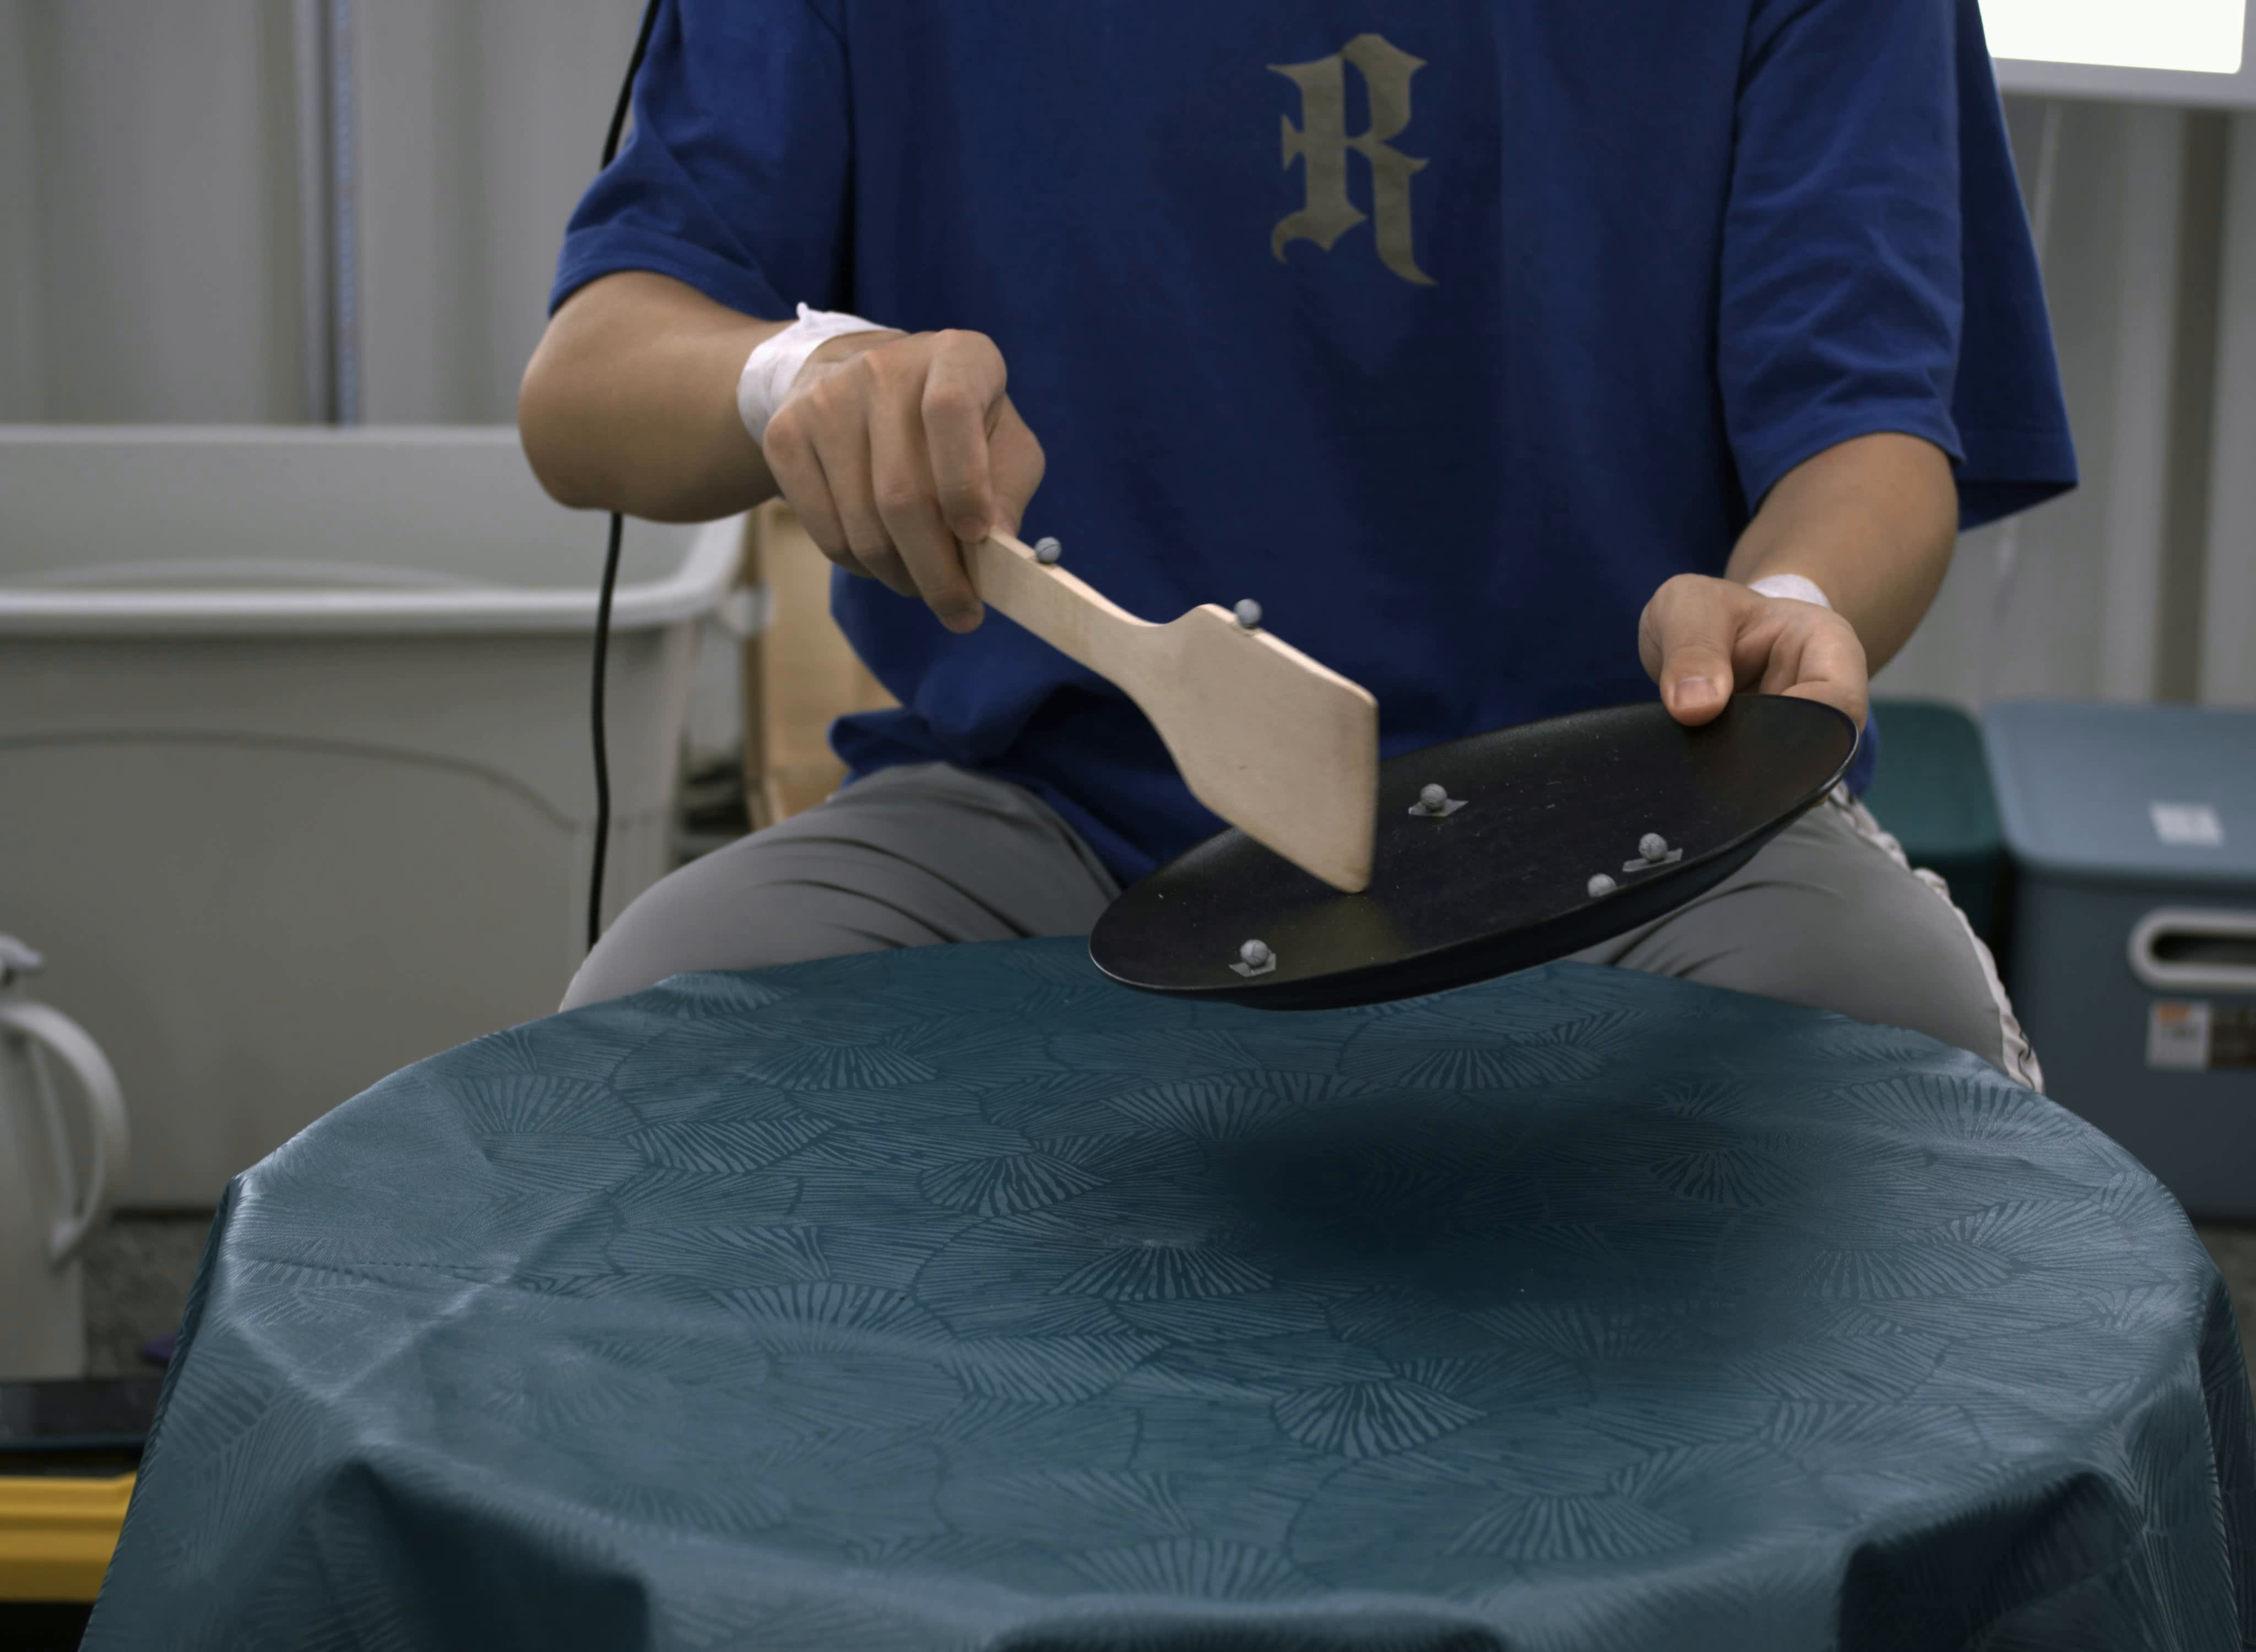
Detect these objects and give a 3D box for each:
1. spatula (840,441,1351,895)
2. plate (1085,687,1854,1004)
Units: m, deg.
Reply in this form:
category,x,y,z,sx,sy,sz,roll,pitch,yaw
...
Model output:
category,x,y,z,sx,sy,sz,roll,pitch,yaw
spatula,-0.017,-0.066,1.706,0.011,0.073,0.289,-17,34,-30
plate,0.105,0.010,1.606,0.243,0.023,0.243,-16,13,5
